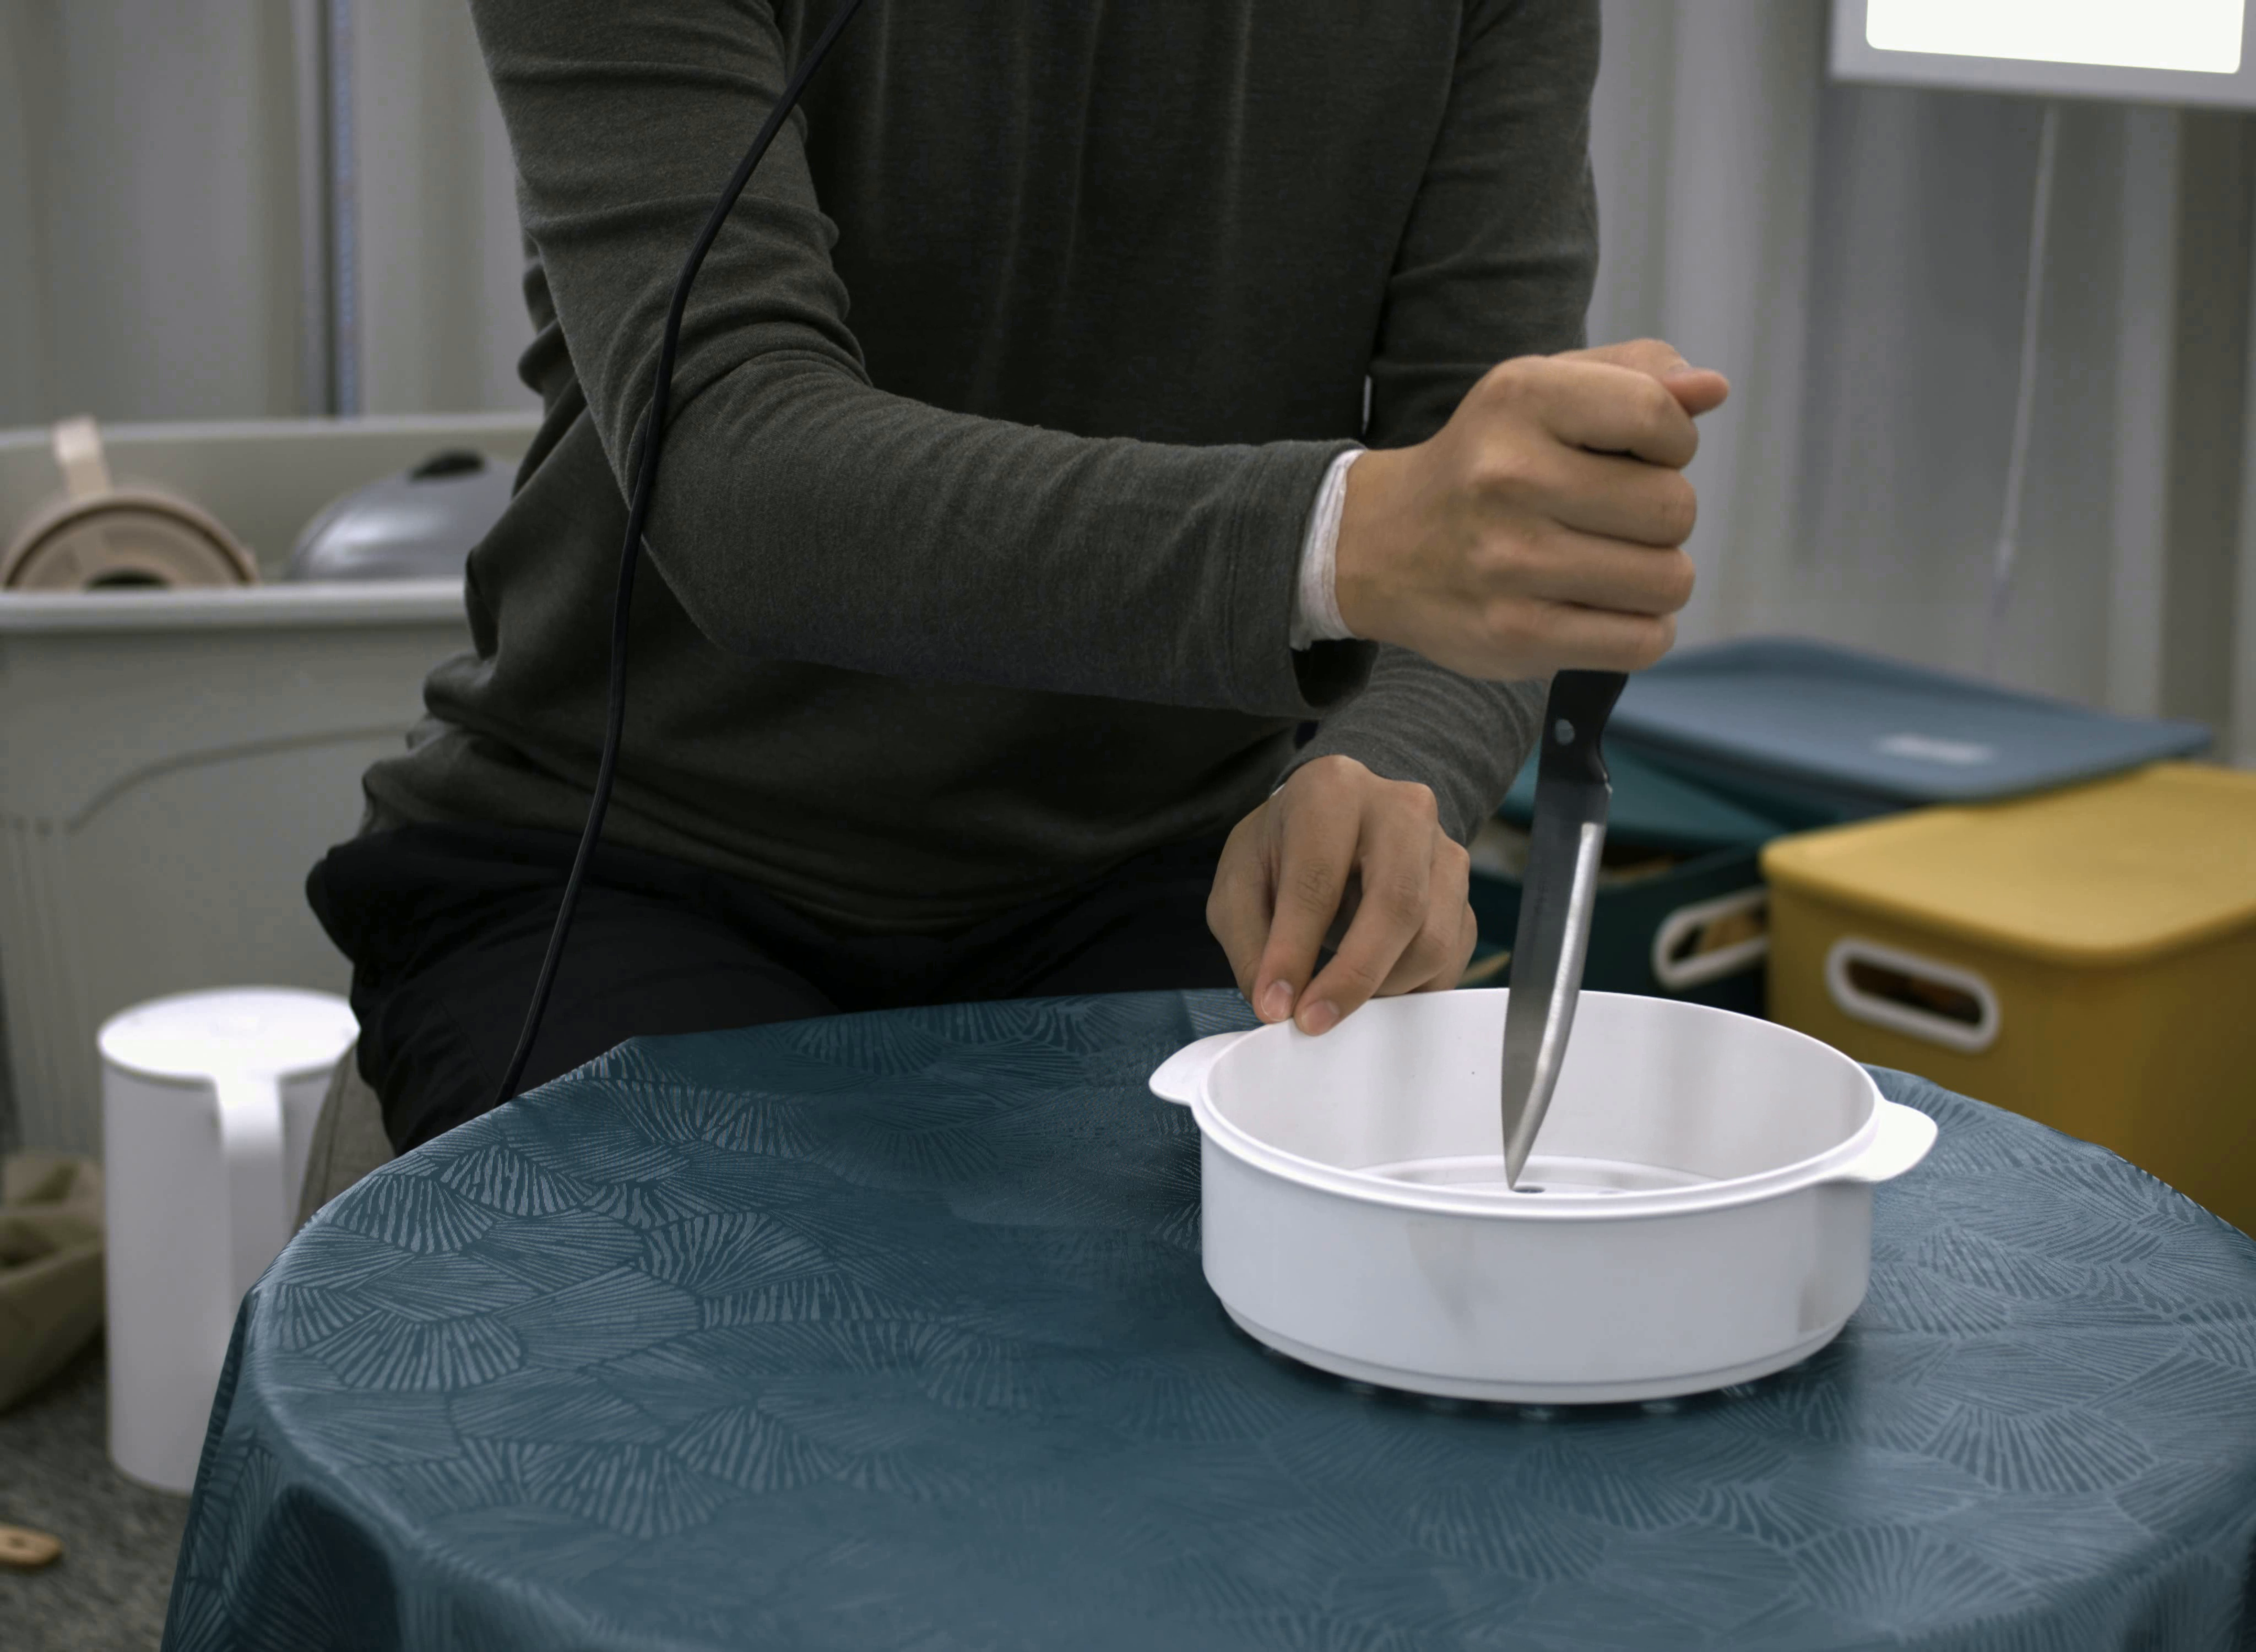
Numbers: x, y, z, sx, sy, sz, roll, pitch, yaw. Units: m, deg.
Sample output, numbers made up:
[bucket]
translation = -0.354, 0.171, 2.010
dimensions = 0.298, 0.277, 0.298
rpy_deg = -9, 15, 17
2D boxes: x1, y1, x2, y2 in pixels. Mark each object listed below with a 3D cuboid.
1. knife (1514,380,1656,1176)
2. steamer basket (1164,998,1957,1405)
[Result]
[knife]
translation = 0.124, -0.010, 1.482
dimensions = 0.024, 0.240, 0.016
rpy_deg = 15, 20, 28
[steamer basket]
translation = 0.123, 0.107, 1.522
dimensions = 0.228, 0.070, 0.202
rpy_deg = 5, 15, 21
